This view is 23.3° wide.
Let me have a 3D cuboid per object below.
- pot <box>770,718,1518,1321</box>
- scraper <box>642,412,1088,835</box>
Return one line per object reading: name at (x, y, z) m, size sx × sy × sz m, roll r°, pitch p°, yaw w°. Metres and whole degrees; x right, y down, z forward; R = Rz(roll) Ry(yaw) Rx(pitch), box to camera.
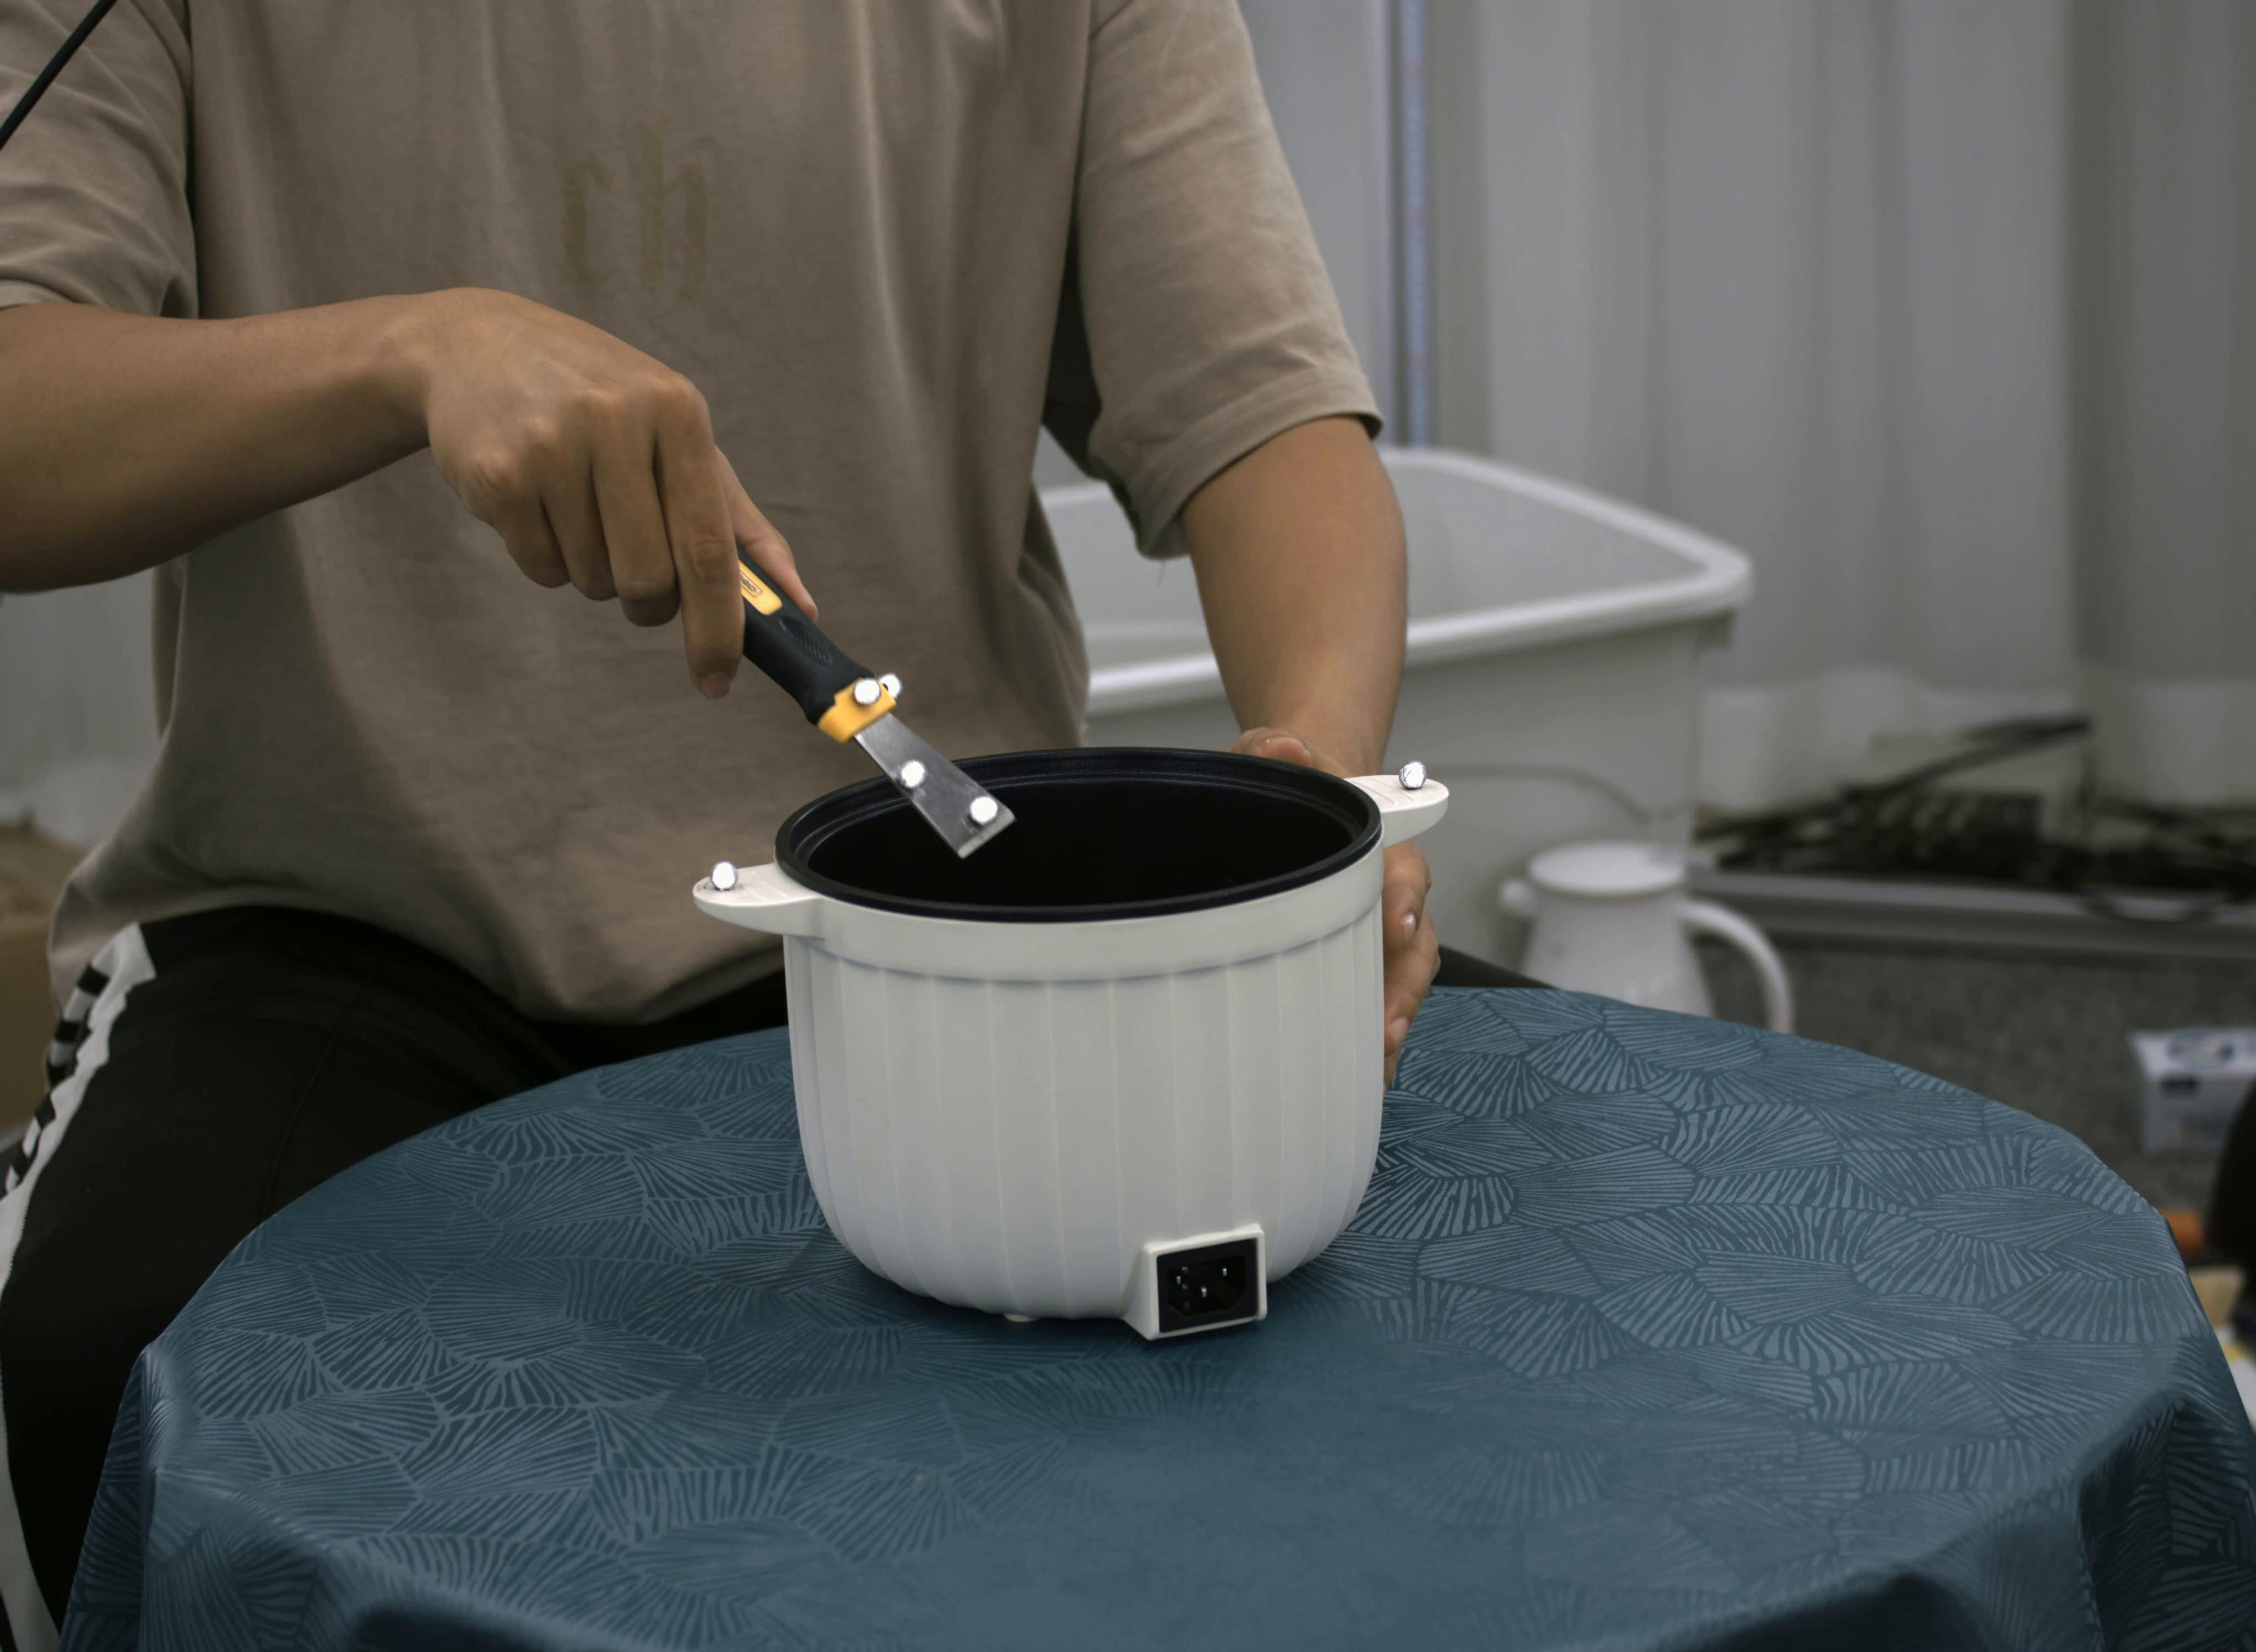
pot at (0.006, 0.056, 1.648) m, size 0.239 × 0.142 × 0.192 m, roll -8°, pitch 19°, yaw -22°
scraper at (-0.081, -0.062, 1.646) m, size 0.171 × 0.015 × 0.039 m, roll 44°, pitch 39°, yaw 5°
